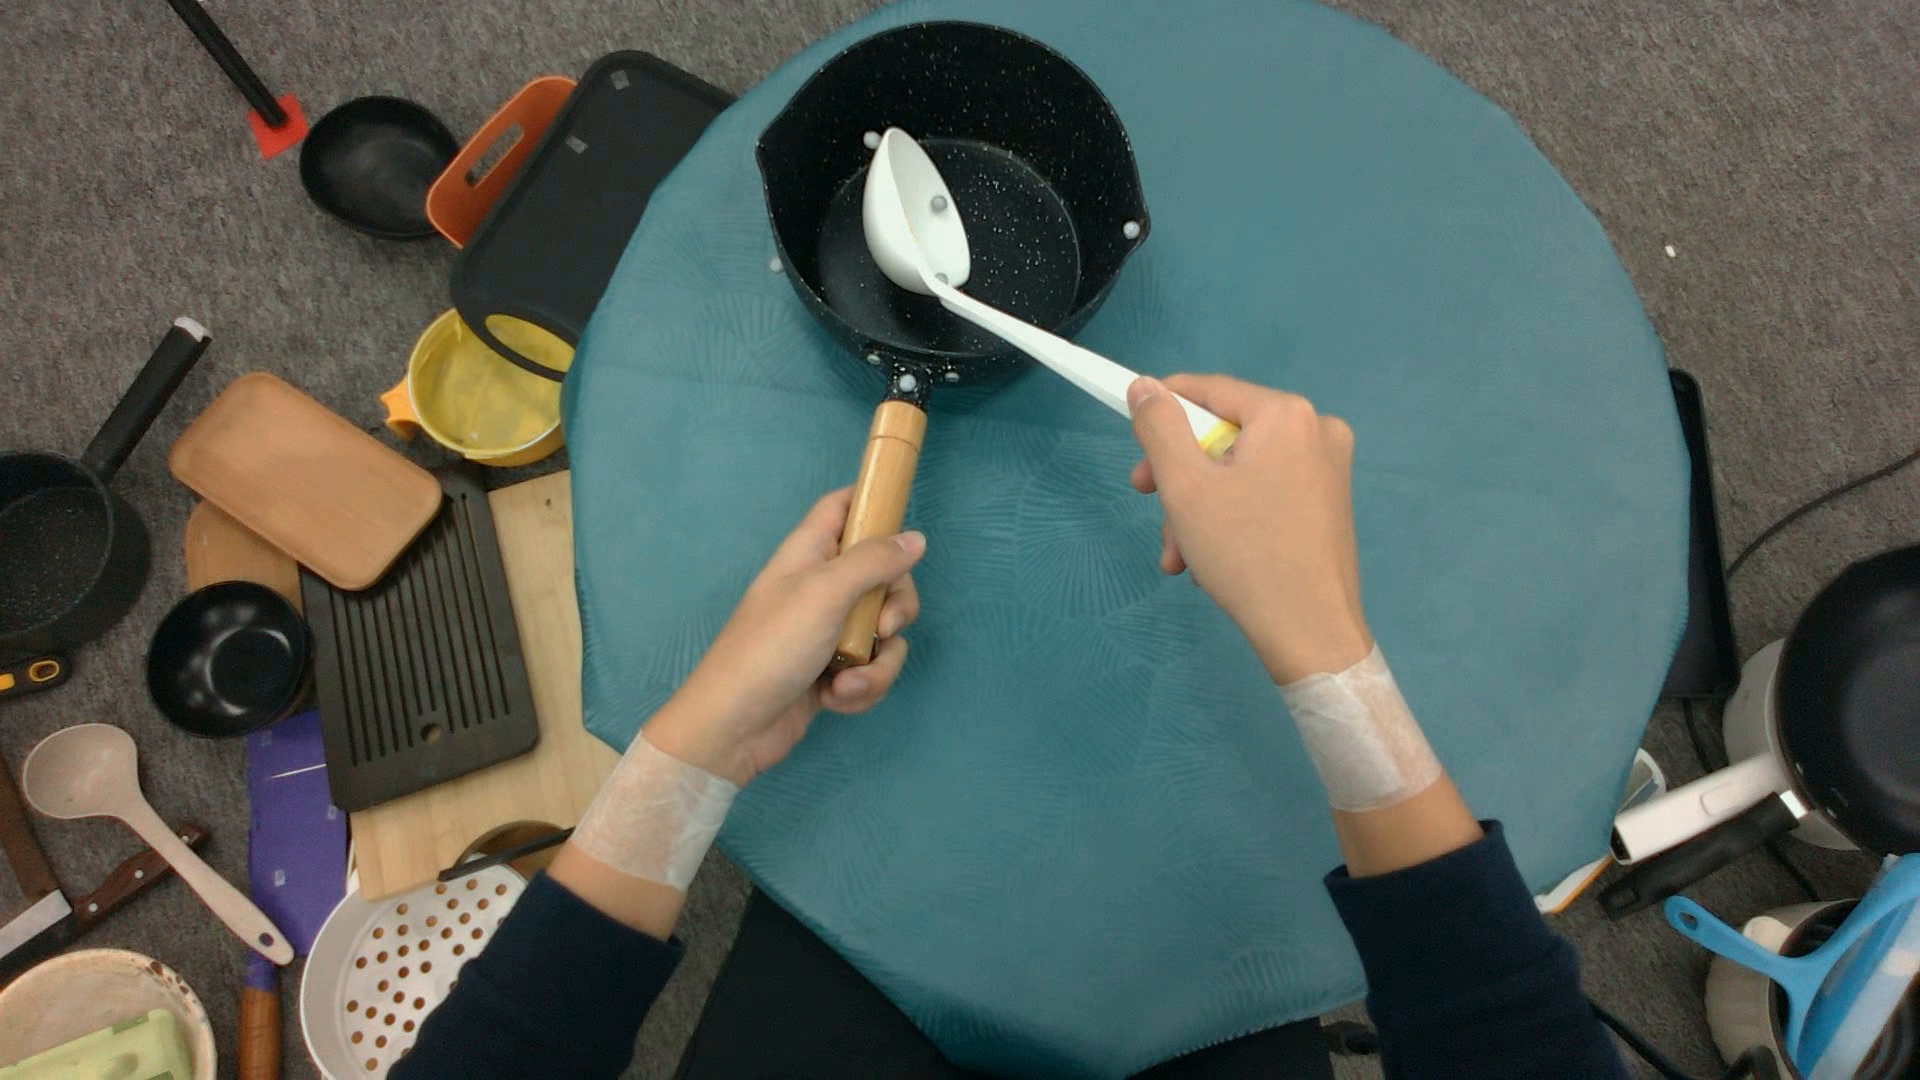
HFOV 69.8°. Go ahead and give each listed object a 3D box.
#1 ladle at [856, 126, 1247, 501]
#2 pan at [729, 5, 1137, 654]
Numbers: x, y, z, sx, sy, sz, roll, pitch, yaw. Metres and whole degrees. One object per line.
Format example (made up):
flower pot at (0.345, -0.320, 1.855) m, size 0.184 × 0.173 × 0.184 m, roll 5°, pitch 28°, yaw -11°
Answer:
ladle at (0.038, -0.113, 0.651) m, size 0.070 × 0.090 × 0.293 m, roll -41°, pitch 48°, yaw -9°
pan at (-0.027, -0.100, 0.686) m, size 0.207 × 0.108 × 0.344 m, roll 11°, pitch 73°, yaw -1°
